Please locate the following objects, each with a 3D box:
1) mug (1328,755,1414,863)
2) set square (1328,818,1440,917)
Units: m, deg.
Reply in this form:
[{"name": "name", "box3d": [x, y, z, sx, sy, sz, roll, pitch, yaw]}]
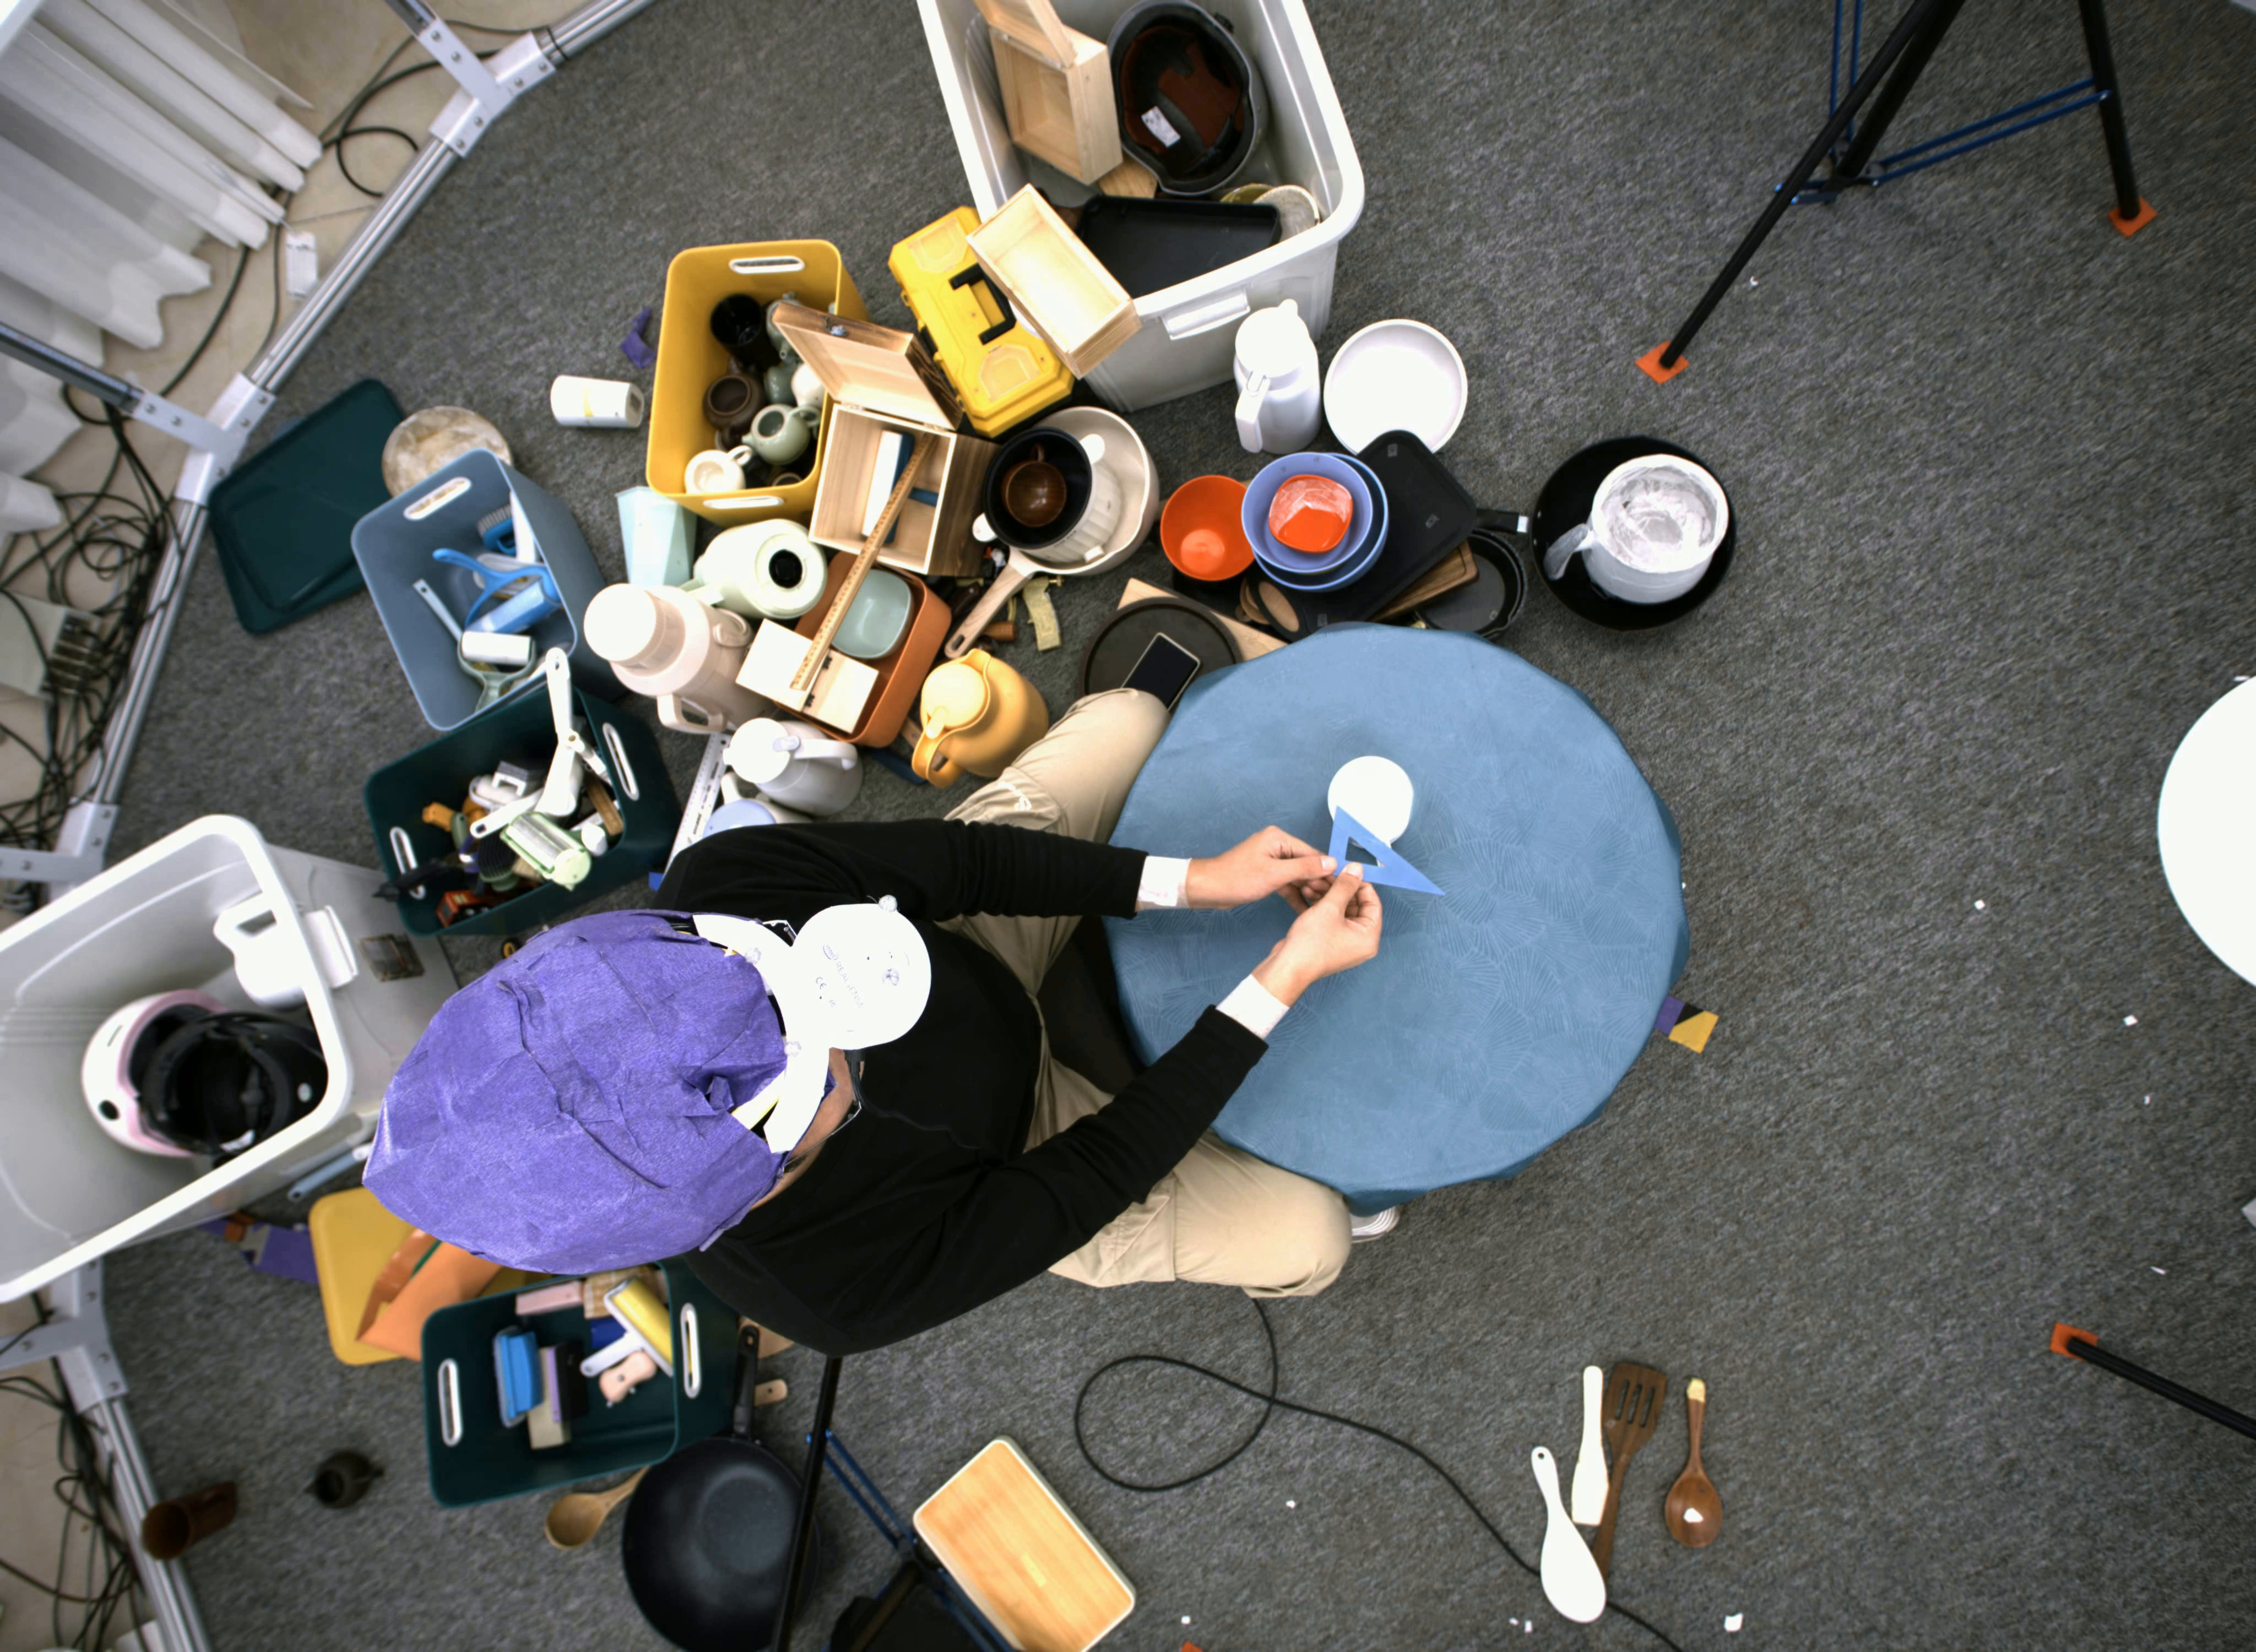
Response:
[{"name": "mug", "box3d": [0.253, -0.008, 1.416, 0.085, 0.102, 0.117, -14, 83, 8]}, {"name": "set square", "box3d": [0.243, 0.054, 1.355, 0.131, 0.006, 0.061, 44, 83, 7]}]
